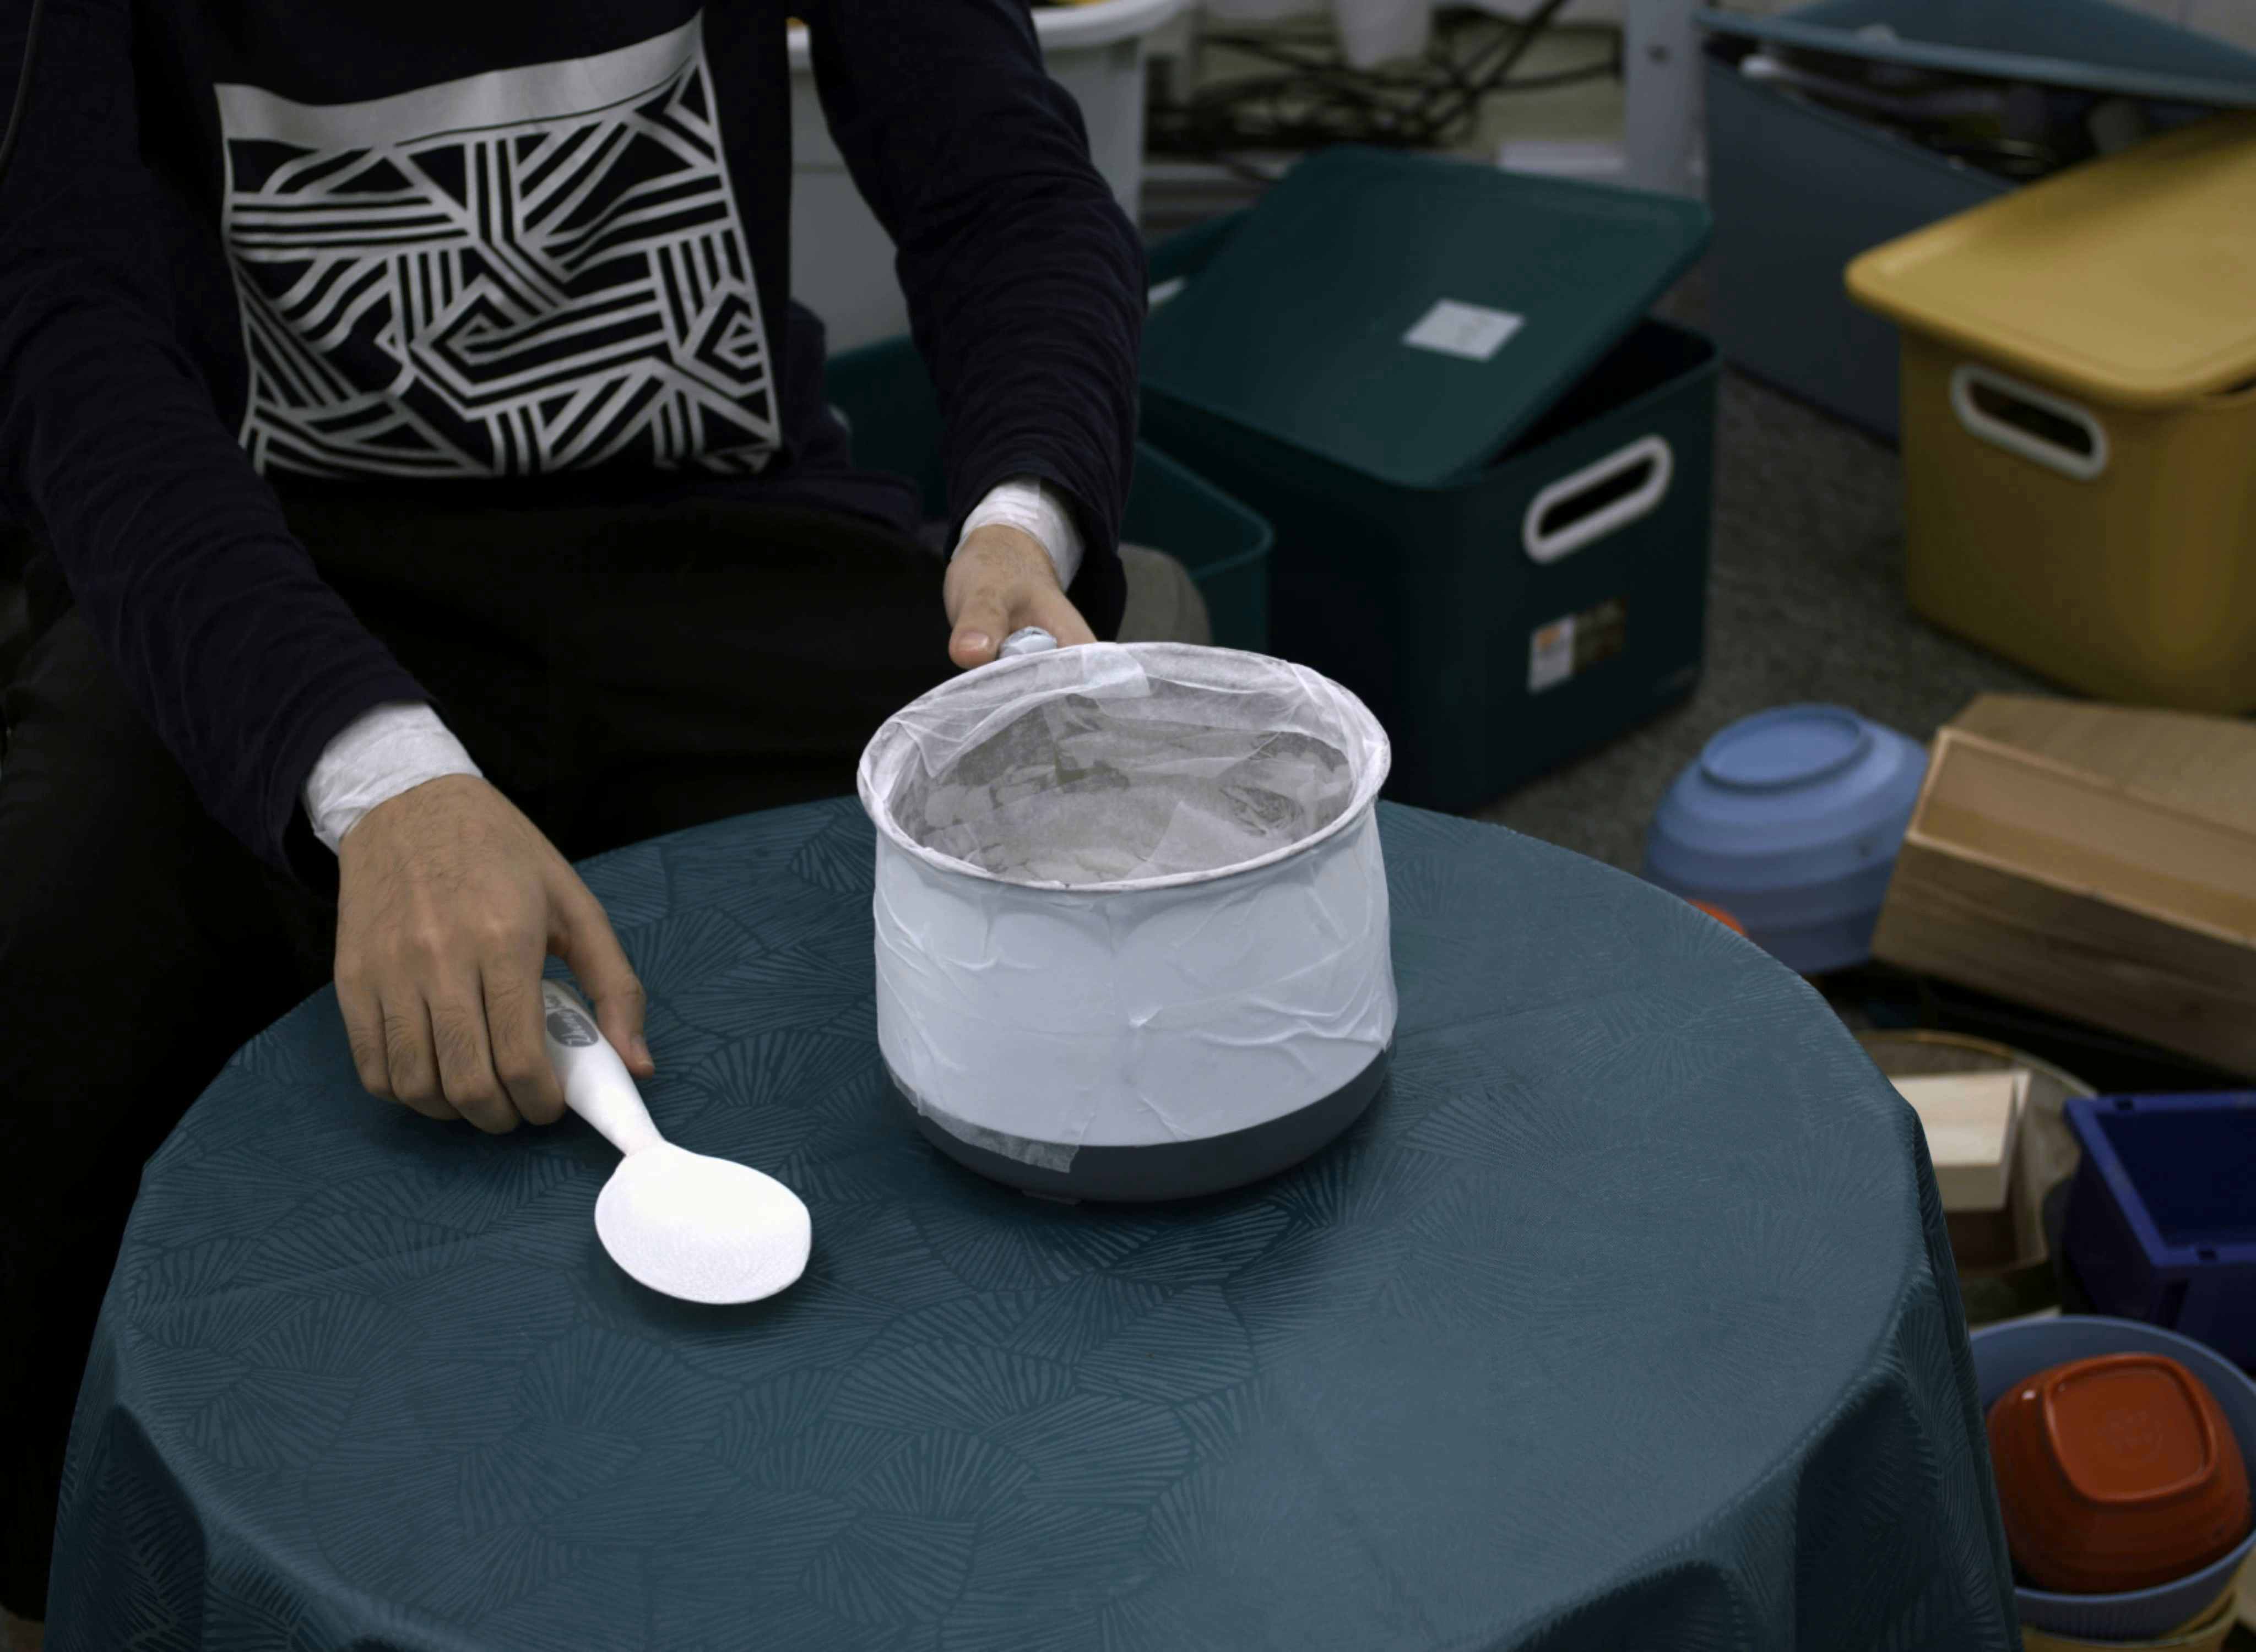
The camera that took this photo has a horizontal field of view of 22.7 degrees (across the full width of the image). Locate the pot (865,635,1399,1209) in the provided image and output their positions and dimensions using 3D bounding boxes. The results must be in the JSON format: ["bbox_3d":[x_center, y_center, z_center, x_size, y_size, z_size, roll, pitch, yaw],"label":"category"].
[{"bbox_3d":[-0.007,0.025,1.909,0.179,0.135,0.235,-10,26,-17],"label":"pot"}]

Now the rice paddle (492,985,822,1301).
[{"bbox_3d":[-0.162,0.108,1.873,0.069,0.029,0.206,-15,29,-22],"label":"rice paddle"}]
